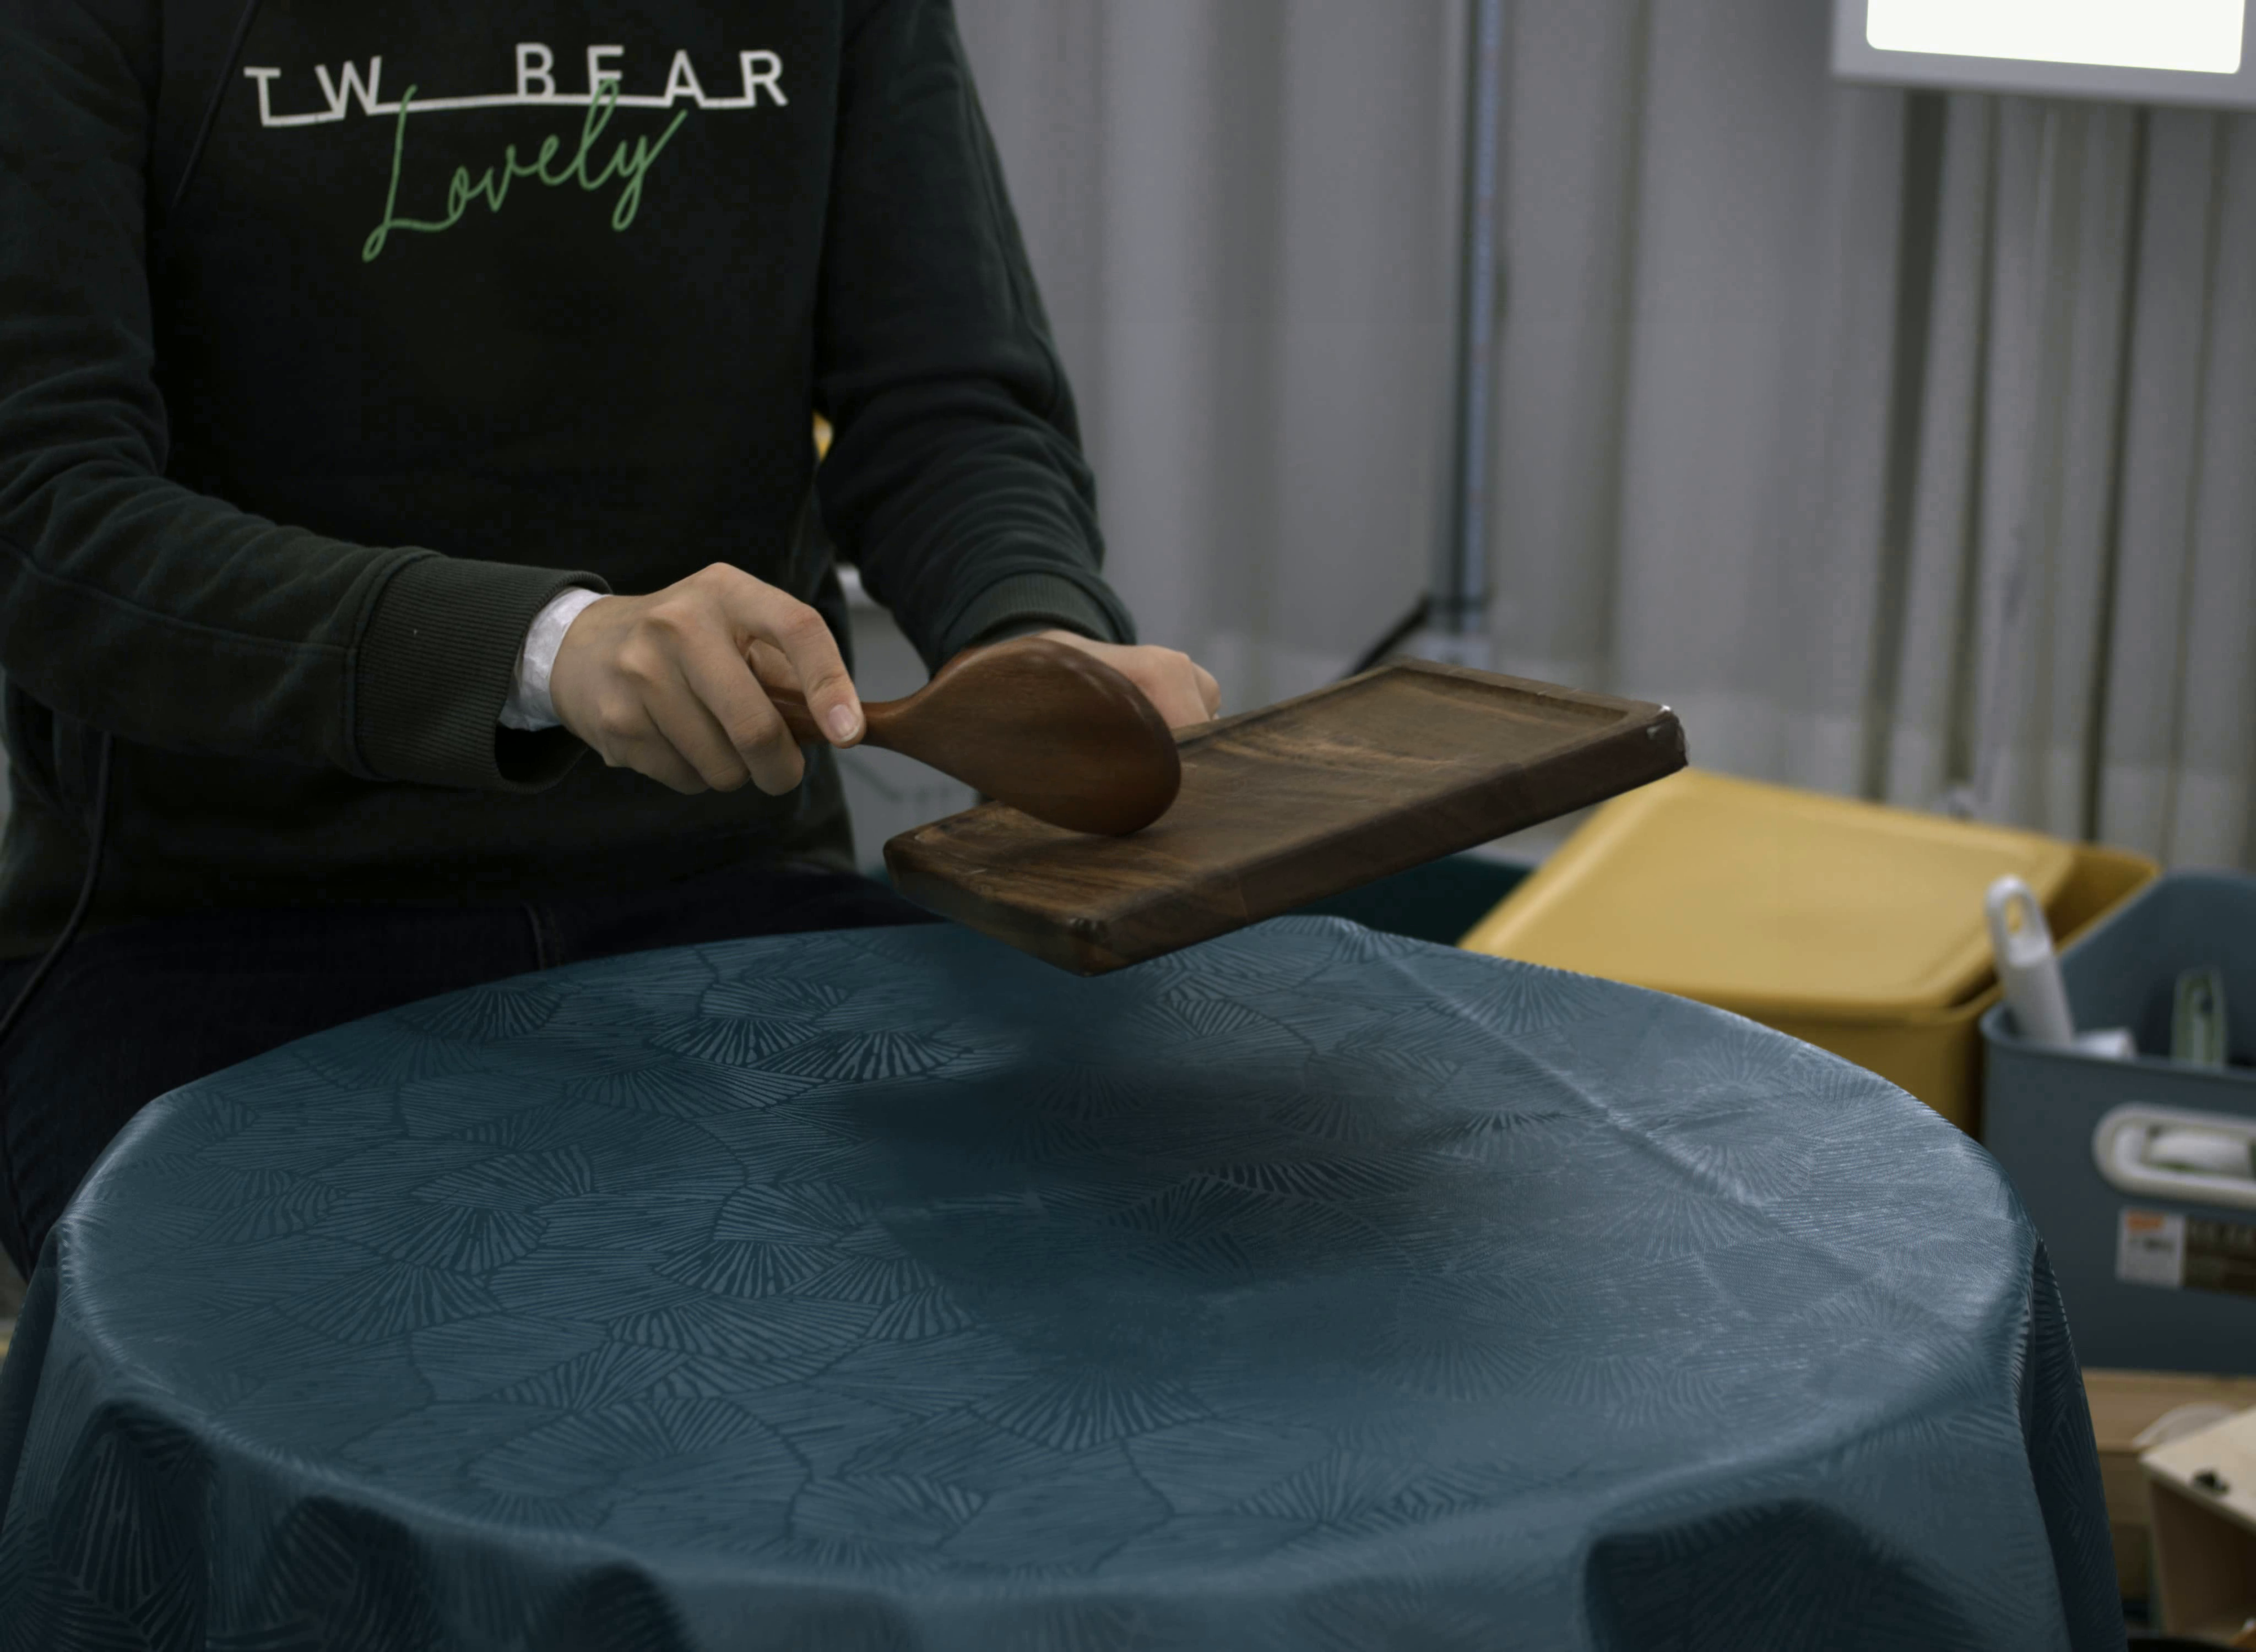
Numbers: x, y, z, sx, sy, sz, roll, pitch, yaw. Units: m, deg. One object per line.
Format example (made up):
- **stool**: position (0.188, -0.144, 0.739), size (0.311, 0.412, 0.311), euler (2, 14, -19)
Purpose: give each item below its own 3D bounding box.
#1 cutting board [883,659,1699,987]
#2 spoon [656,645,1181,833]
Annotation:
- **cutting board**: position (0.031, -0.009, 1.680), size (0.201, 0.023, 0.349), euler (-20, 10, -13)
- **spoon**: position (-0.071, -0.030, 1.657), size (0.213, 0.076, 0.017), euler (7, 47, 40)
